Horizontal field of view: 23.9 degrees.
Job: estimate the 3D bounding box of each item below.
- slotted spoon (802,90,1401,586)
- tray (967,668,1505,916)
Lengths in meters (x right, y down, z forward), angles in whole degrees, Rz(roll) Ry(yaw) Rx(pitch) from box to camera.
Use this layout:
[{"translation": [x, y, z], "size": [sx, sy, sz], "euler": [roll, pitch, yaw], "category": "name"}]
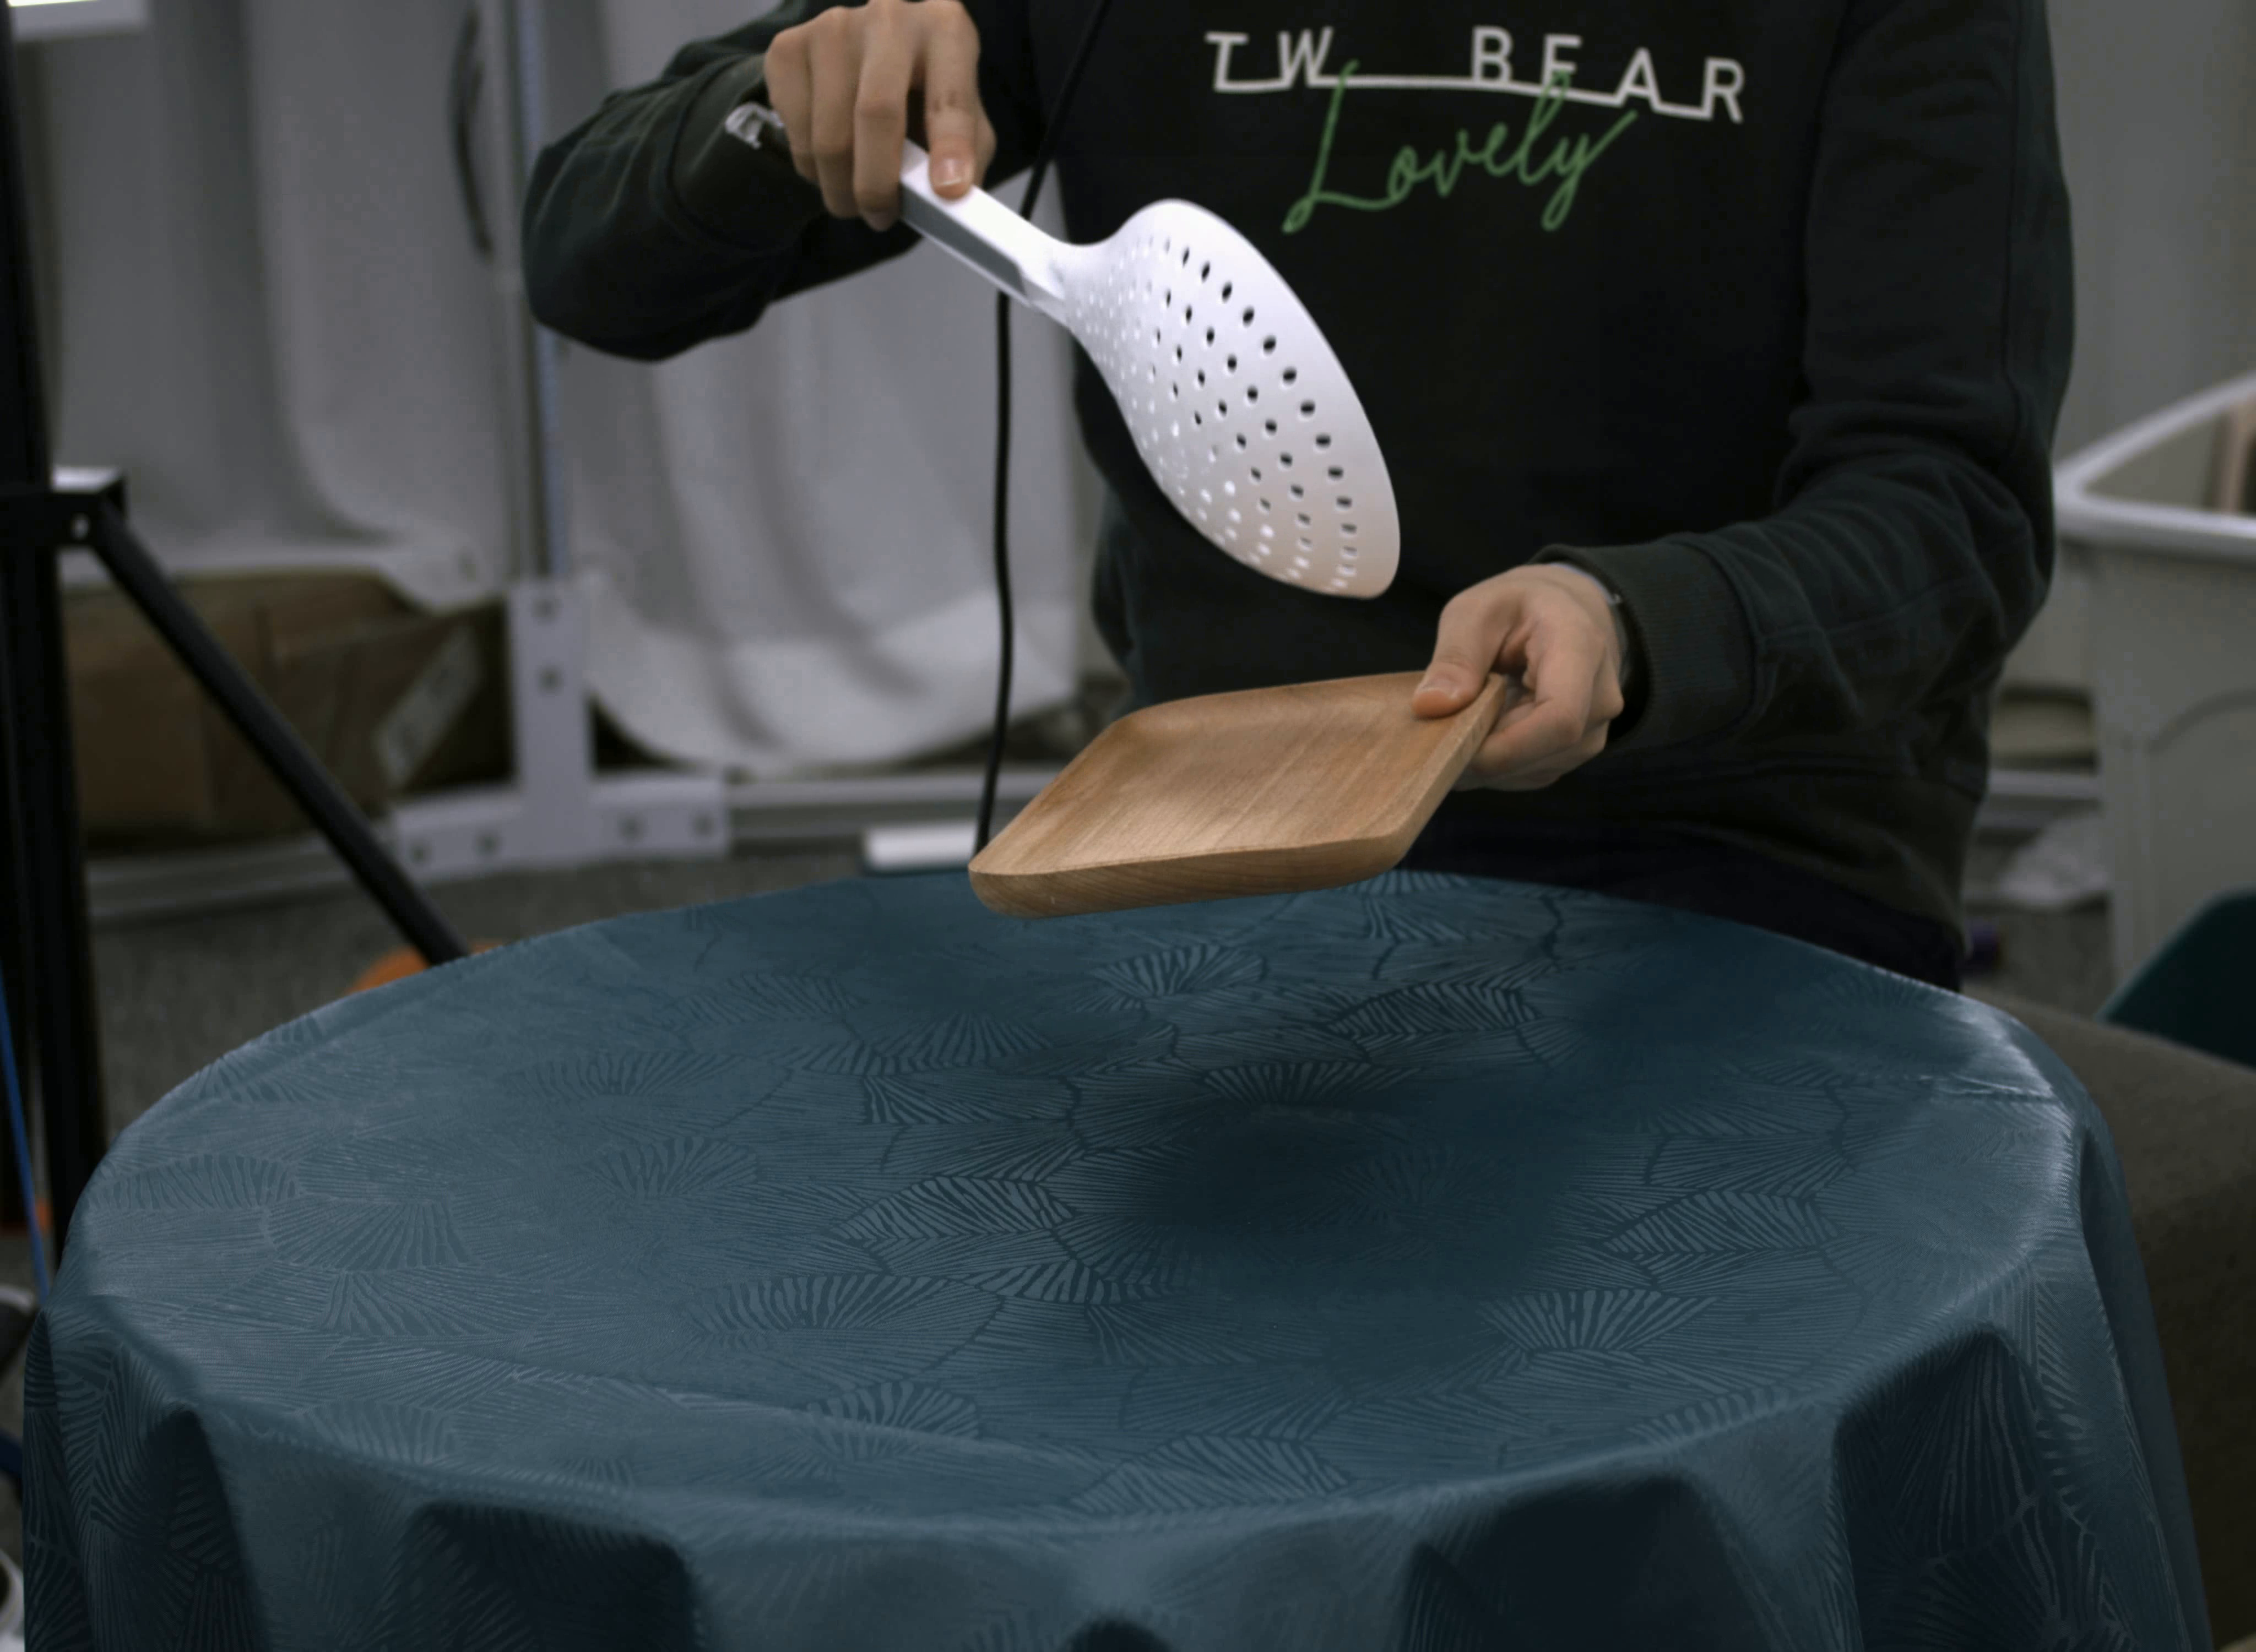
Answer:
[{"translation": [-0.017, -0.173, 1.703], "size": [0.045, 0.134, 0.357], "euler": [-26, 34, -14], "category": "slotted spoon"}, {"translation": [0.037, -0.012, 1.575], "size": [0.131, 0.023, 0.249], "euler": [-4, 11, 14], "category": "tray"}]
